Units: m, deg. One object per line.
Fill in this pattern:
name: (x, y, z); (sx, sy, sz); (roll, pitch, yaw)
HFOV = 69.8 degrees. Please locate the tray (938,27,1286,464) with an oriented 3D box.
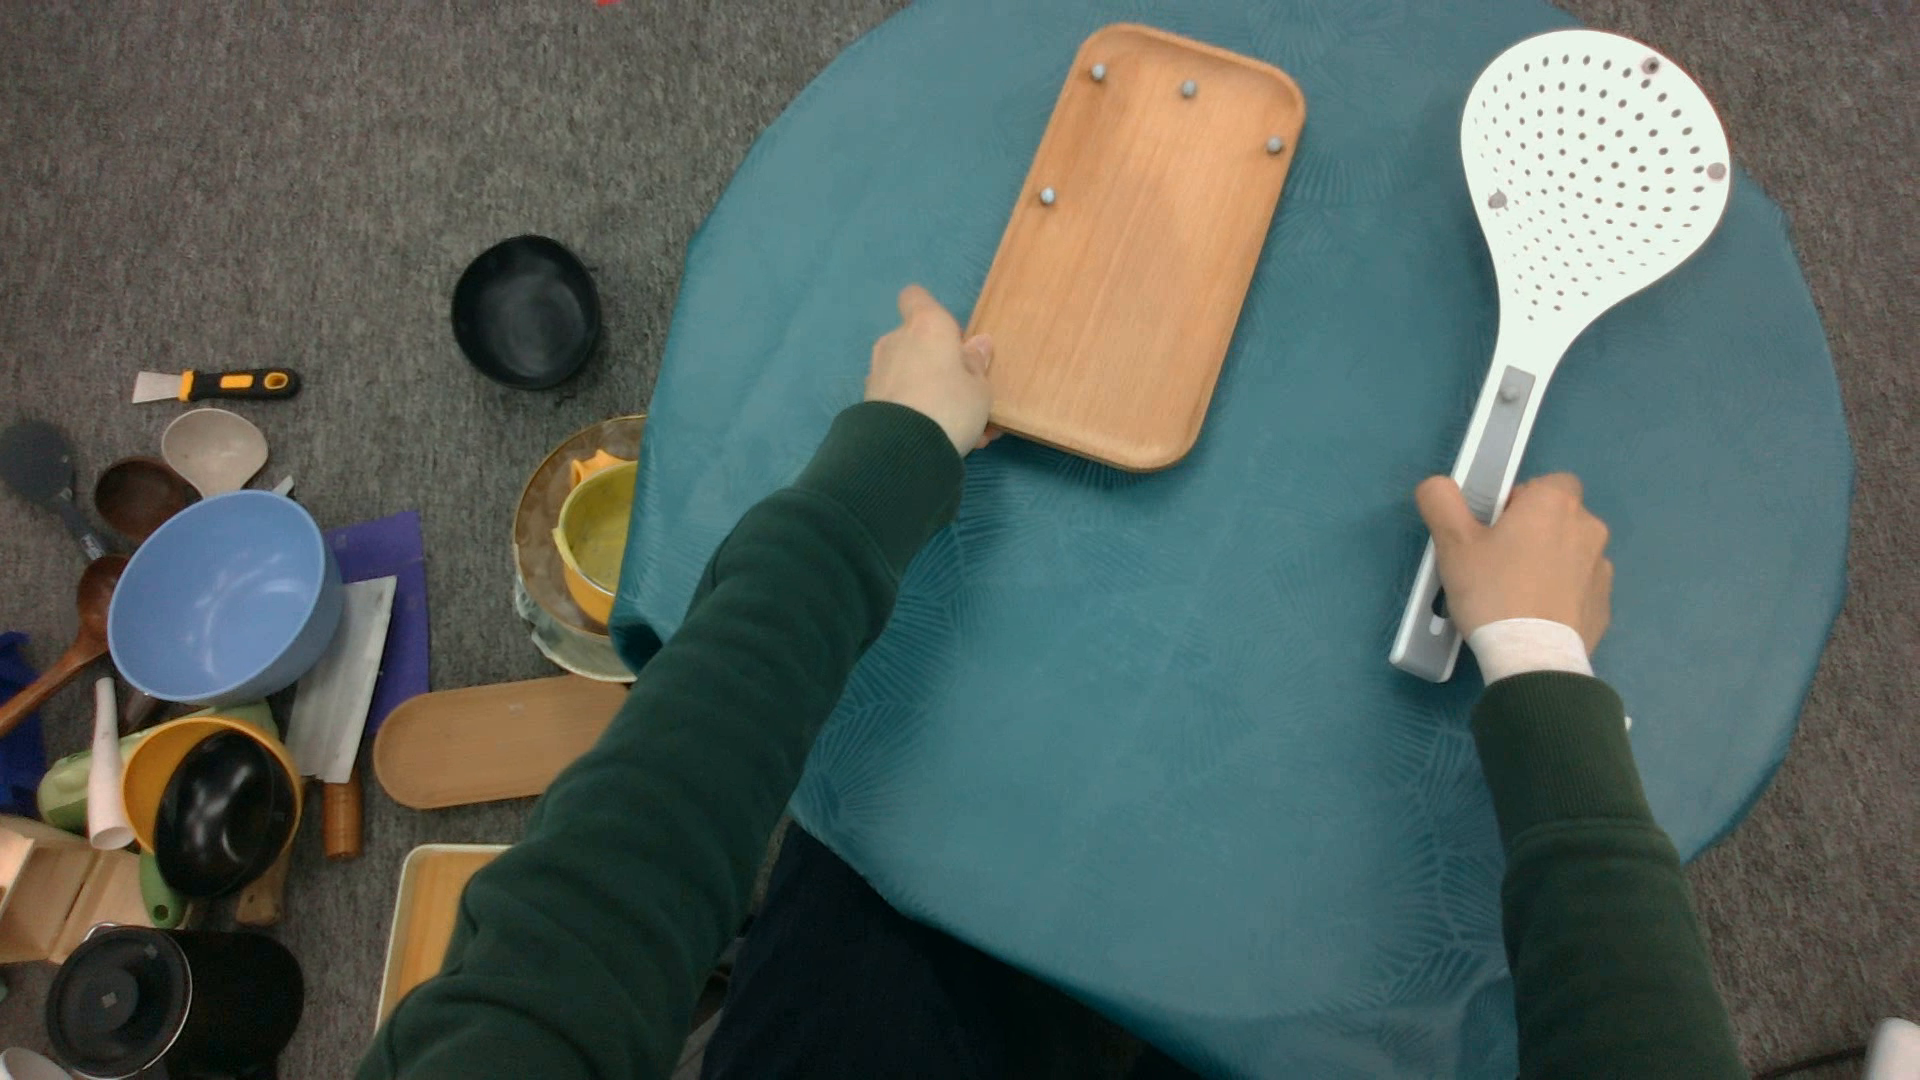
tray: (0.082, -0.158, 0.715); (0.130, 0.023, 0.251); (17, 70, 10)

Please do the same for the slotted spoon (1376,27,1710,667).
slotted spoon: (0.270, -0.101, 0.674); (0.136, 0.045, 0.351); (22, 71, 3)
